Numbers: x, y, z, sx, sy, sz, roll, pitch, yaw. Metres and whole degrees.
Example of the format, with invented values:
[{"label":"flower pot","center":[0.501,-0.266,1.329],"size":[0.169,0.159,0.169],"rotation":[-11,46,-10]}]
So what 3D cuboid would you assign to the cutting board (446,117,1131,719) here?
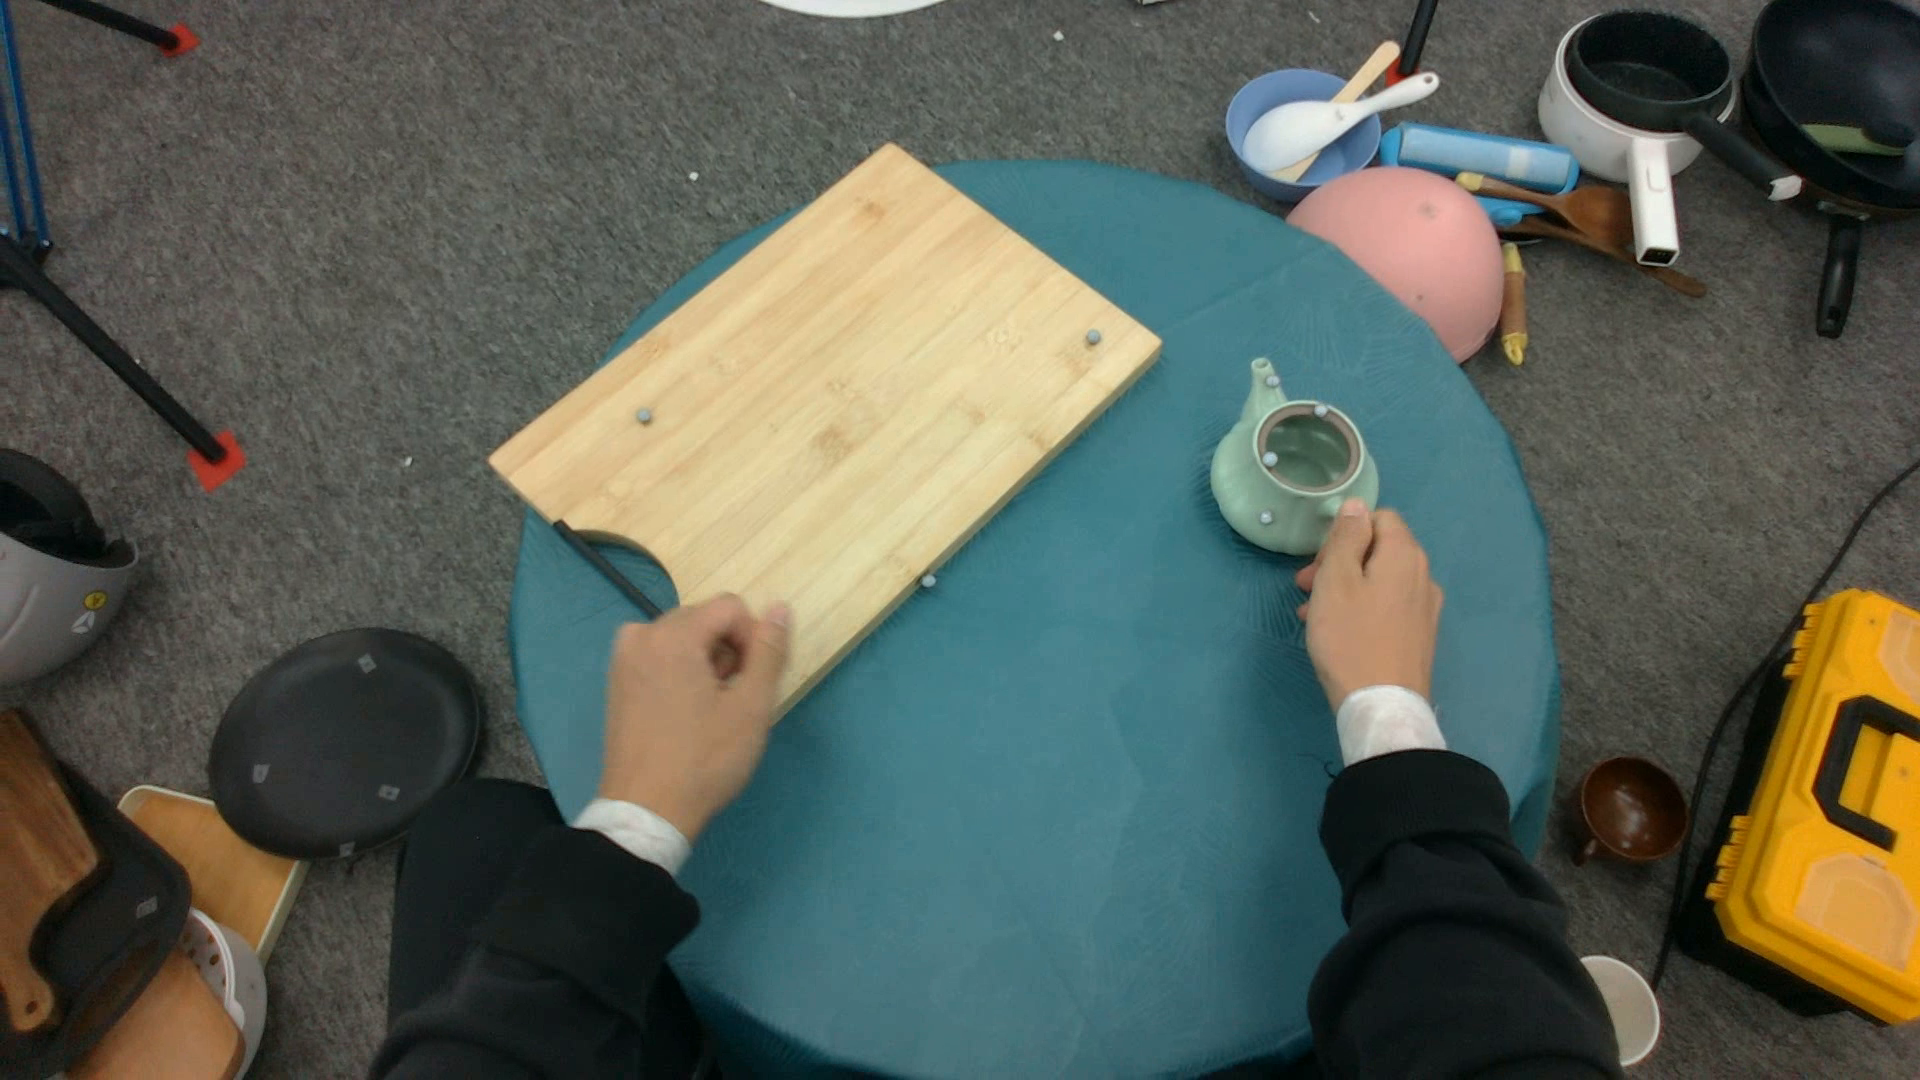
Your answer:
[{"label":"cutting board","center":[-0.096,-0.091,0.836],"size":[0.251,0.023,0.350],"rotation":[38,70,17]}]

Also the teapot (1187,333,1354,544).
[{"label":"teapot","center":[0.183,-0.052,0.794],"size":[0.096,0.061,0.137],"rotation":[-21,66,-12]}]
